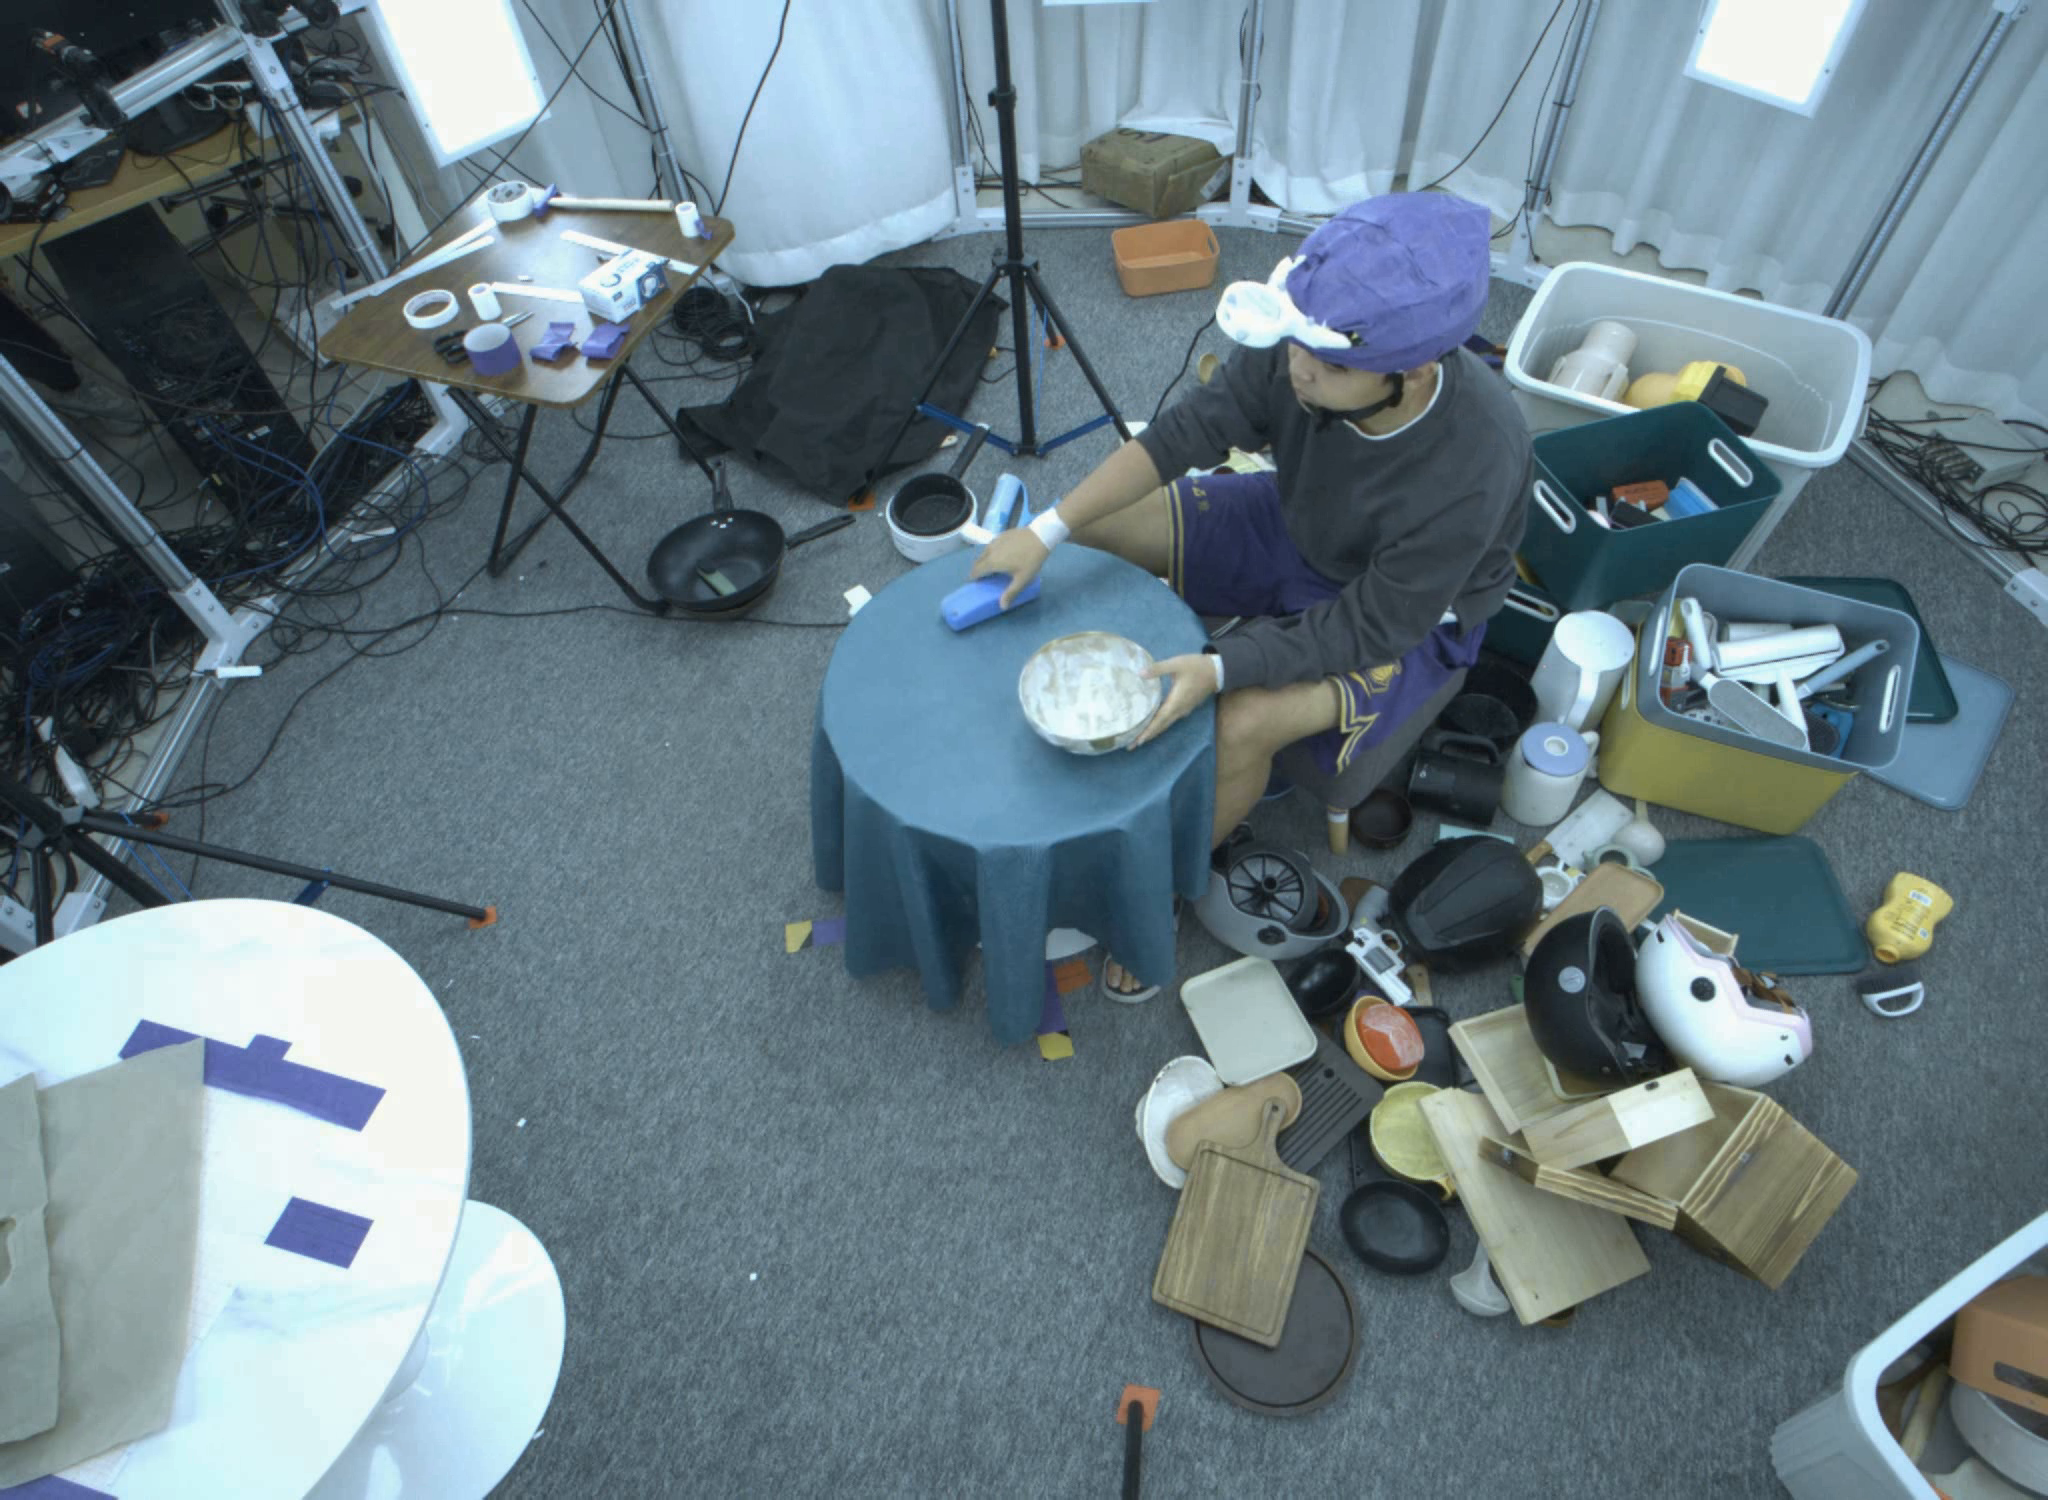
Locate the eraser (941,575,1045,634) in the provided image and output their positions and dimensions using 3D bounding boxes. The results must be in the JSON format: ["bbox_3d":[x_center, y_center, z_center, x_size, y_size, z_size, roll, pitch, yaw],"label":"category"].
[{"bbox_3d":[-0.050,-0.234,1.927,0.163,0.048,0.053,-17,50,-8],"label":"eraser"}]

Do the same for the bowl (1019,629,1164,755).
[{"bbox_3d":[0.100,-0.068,1.776,0.214,0.096,0.212,-2,54,3],"label":"bowl"}]
